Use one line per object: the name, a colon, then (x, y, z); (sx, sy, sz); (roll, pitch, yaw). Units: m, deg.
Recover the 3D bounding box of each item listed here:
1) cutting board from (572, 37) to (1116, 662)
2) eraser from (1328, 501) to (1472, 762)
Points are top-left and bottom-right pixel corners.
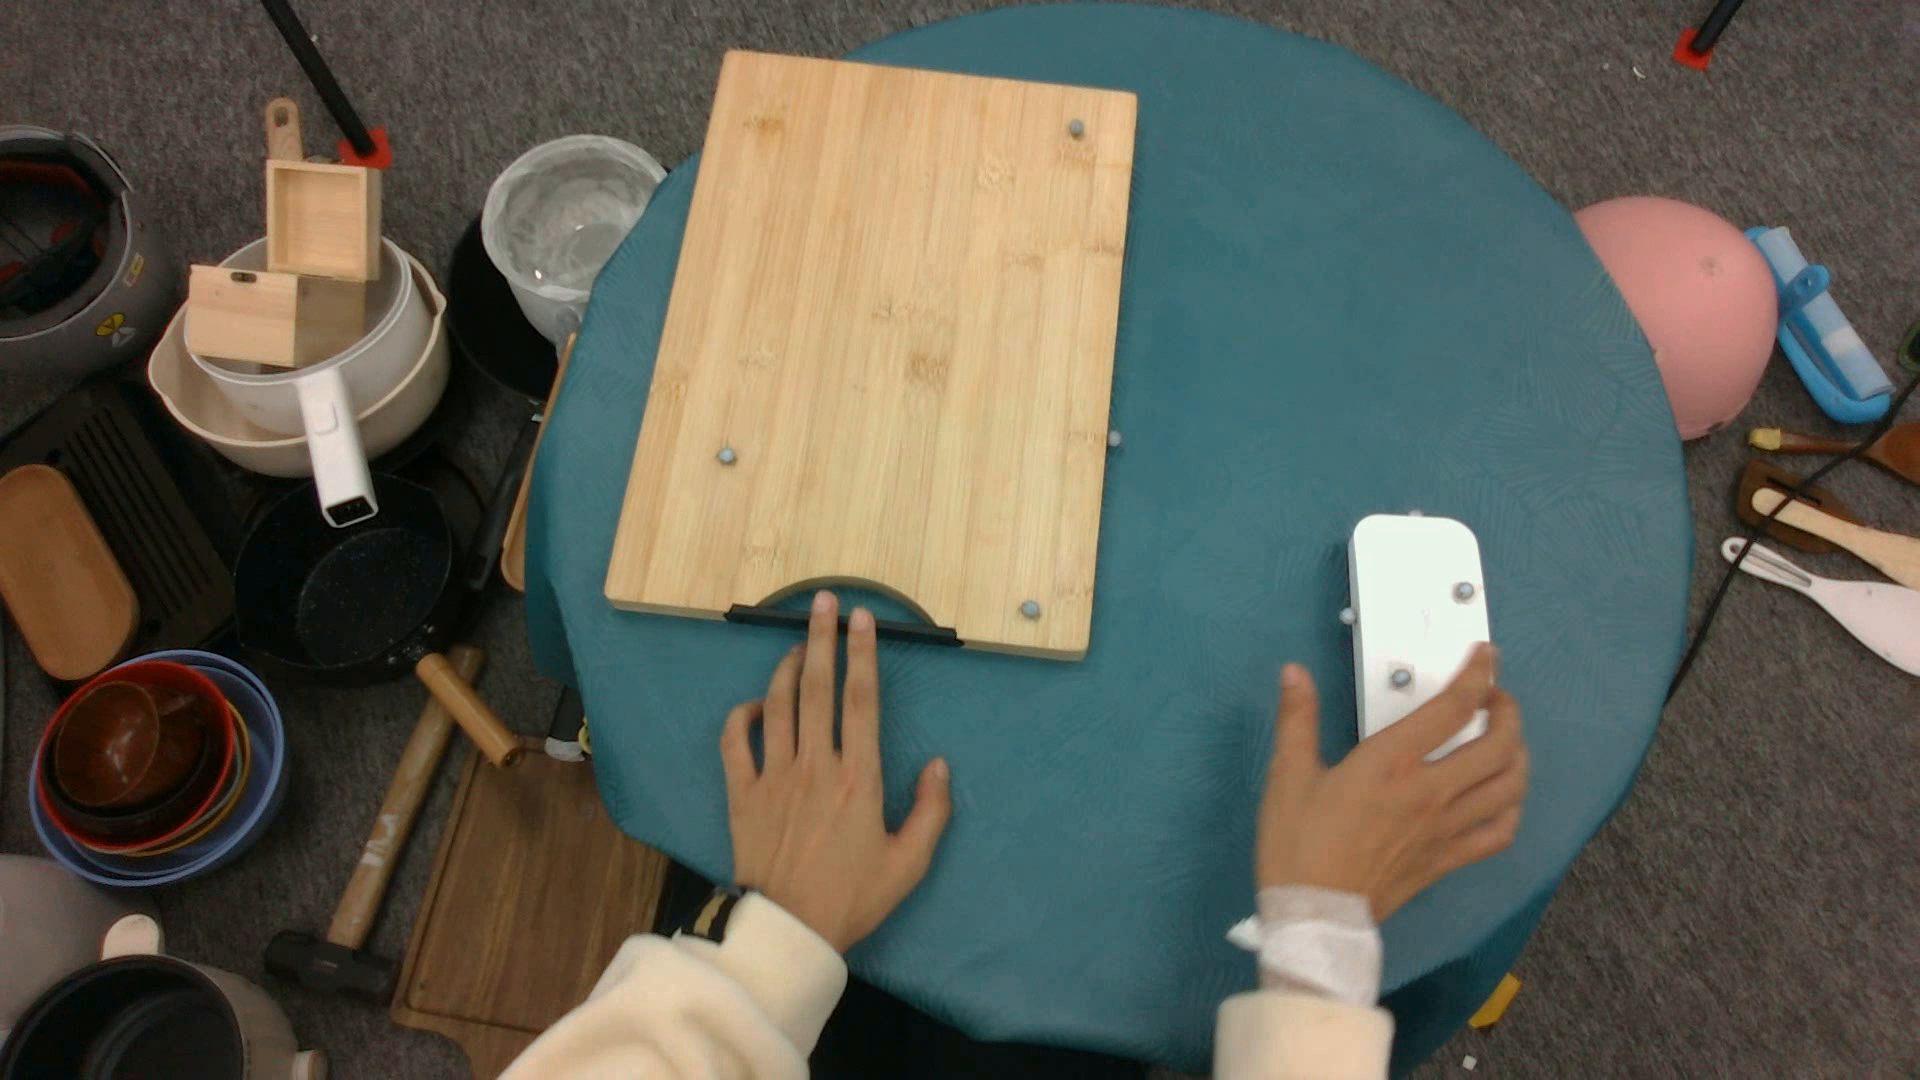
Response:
cutting board: (-0.050, -0.114, 0.738); (0.251, 0.023, 0.350); (5, 69, 0)
eraser: (0.213, 0.044, 0.676); (0.063, 0.034, 0.132); (4, 68, 0)
